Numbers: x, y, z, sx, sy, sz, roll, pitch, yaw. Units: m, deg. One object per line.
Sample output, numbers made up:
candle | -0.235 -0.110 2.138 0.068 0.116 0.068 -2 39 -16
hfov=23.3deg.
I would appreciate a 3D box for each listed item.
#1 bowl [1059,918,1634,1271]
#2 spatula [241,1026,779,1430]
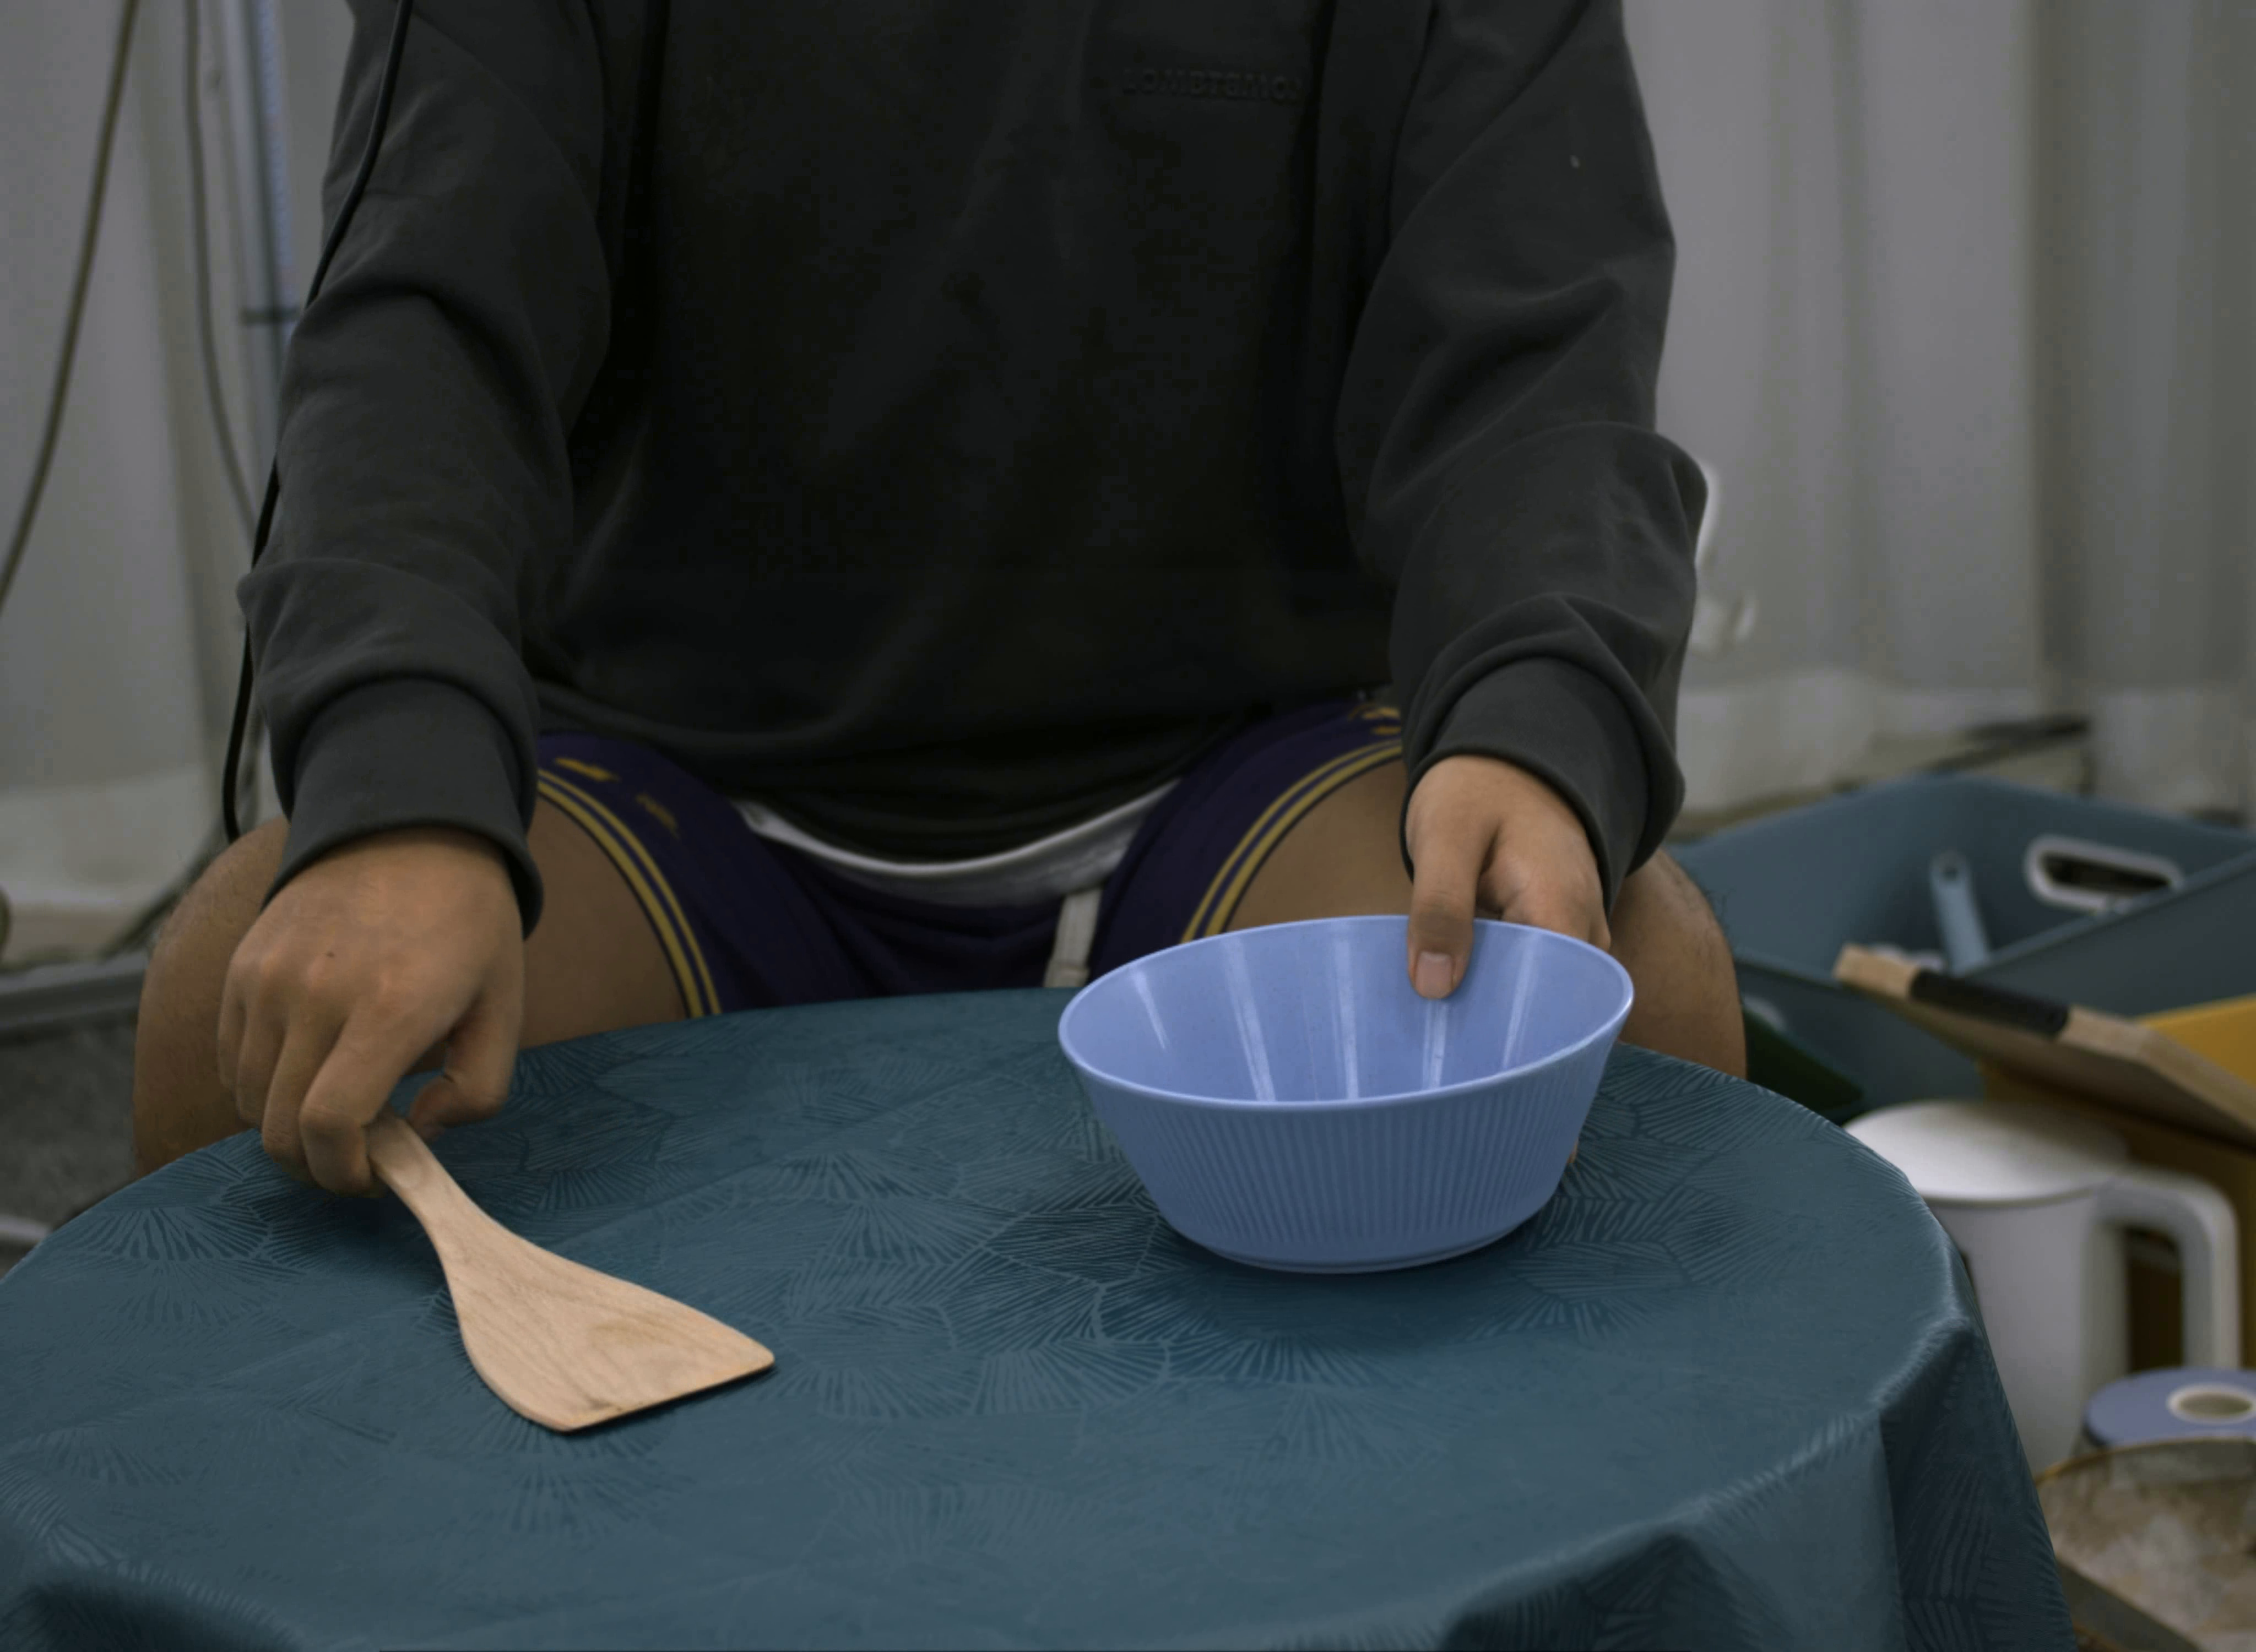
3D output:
bowl | 0.068 0.085 1.672 0.175 0.070 0.177 -4 16 1
spatula | -0.205 0.117 1.680 0.079 0.016 0.331 -11 24 -27
